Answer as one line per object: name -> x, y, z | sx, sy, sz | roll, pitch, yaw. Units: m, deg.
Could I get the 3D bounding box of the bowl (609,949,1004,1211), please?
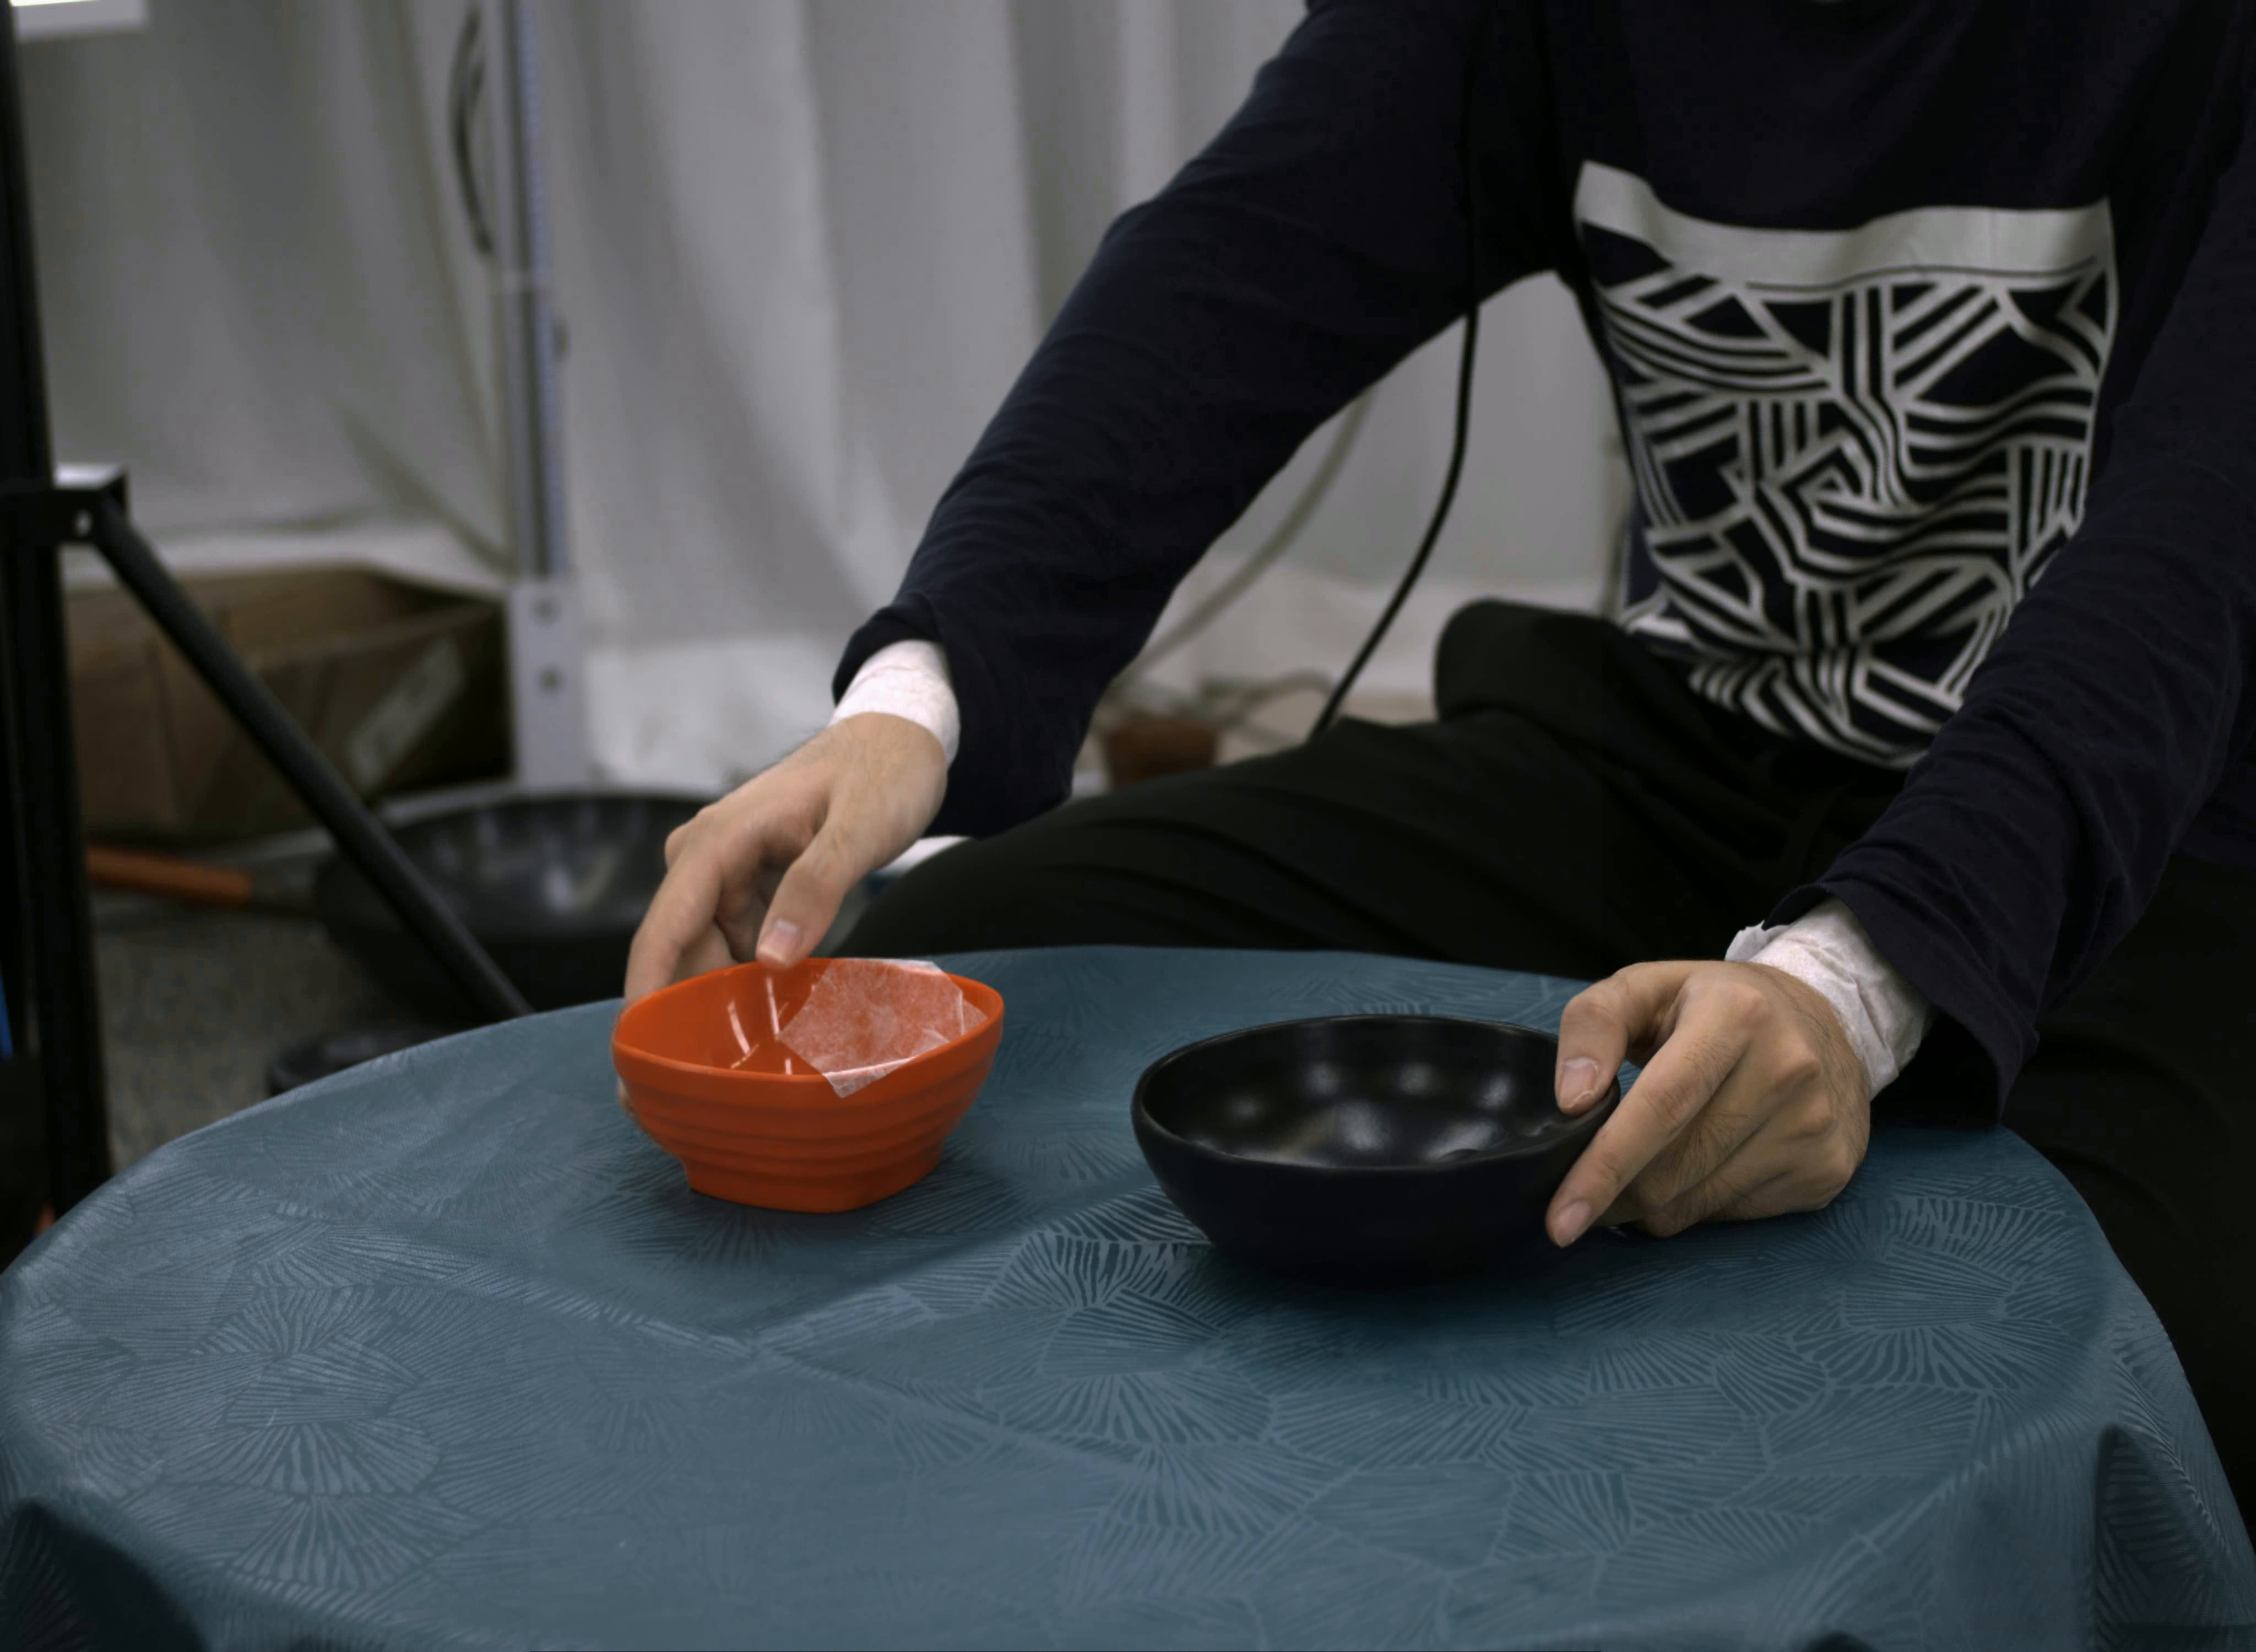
bowl -> -0.093, 0.078, 1.585 | 0.118, 0.051, 0.119 | -4, 16, 0

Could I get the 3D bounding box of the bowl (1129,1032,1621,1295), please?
bowl -> 0.070, 0.100, 1.501 | 0.139, 0.050, 0.140 | -1, 12, -1
